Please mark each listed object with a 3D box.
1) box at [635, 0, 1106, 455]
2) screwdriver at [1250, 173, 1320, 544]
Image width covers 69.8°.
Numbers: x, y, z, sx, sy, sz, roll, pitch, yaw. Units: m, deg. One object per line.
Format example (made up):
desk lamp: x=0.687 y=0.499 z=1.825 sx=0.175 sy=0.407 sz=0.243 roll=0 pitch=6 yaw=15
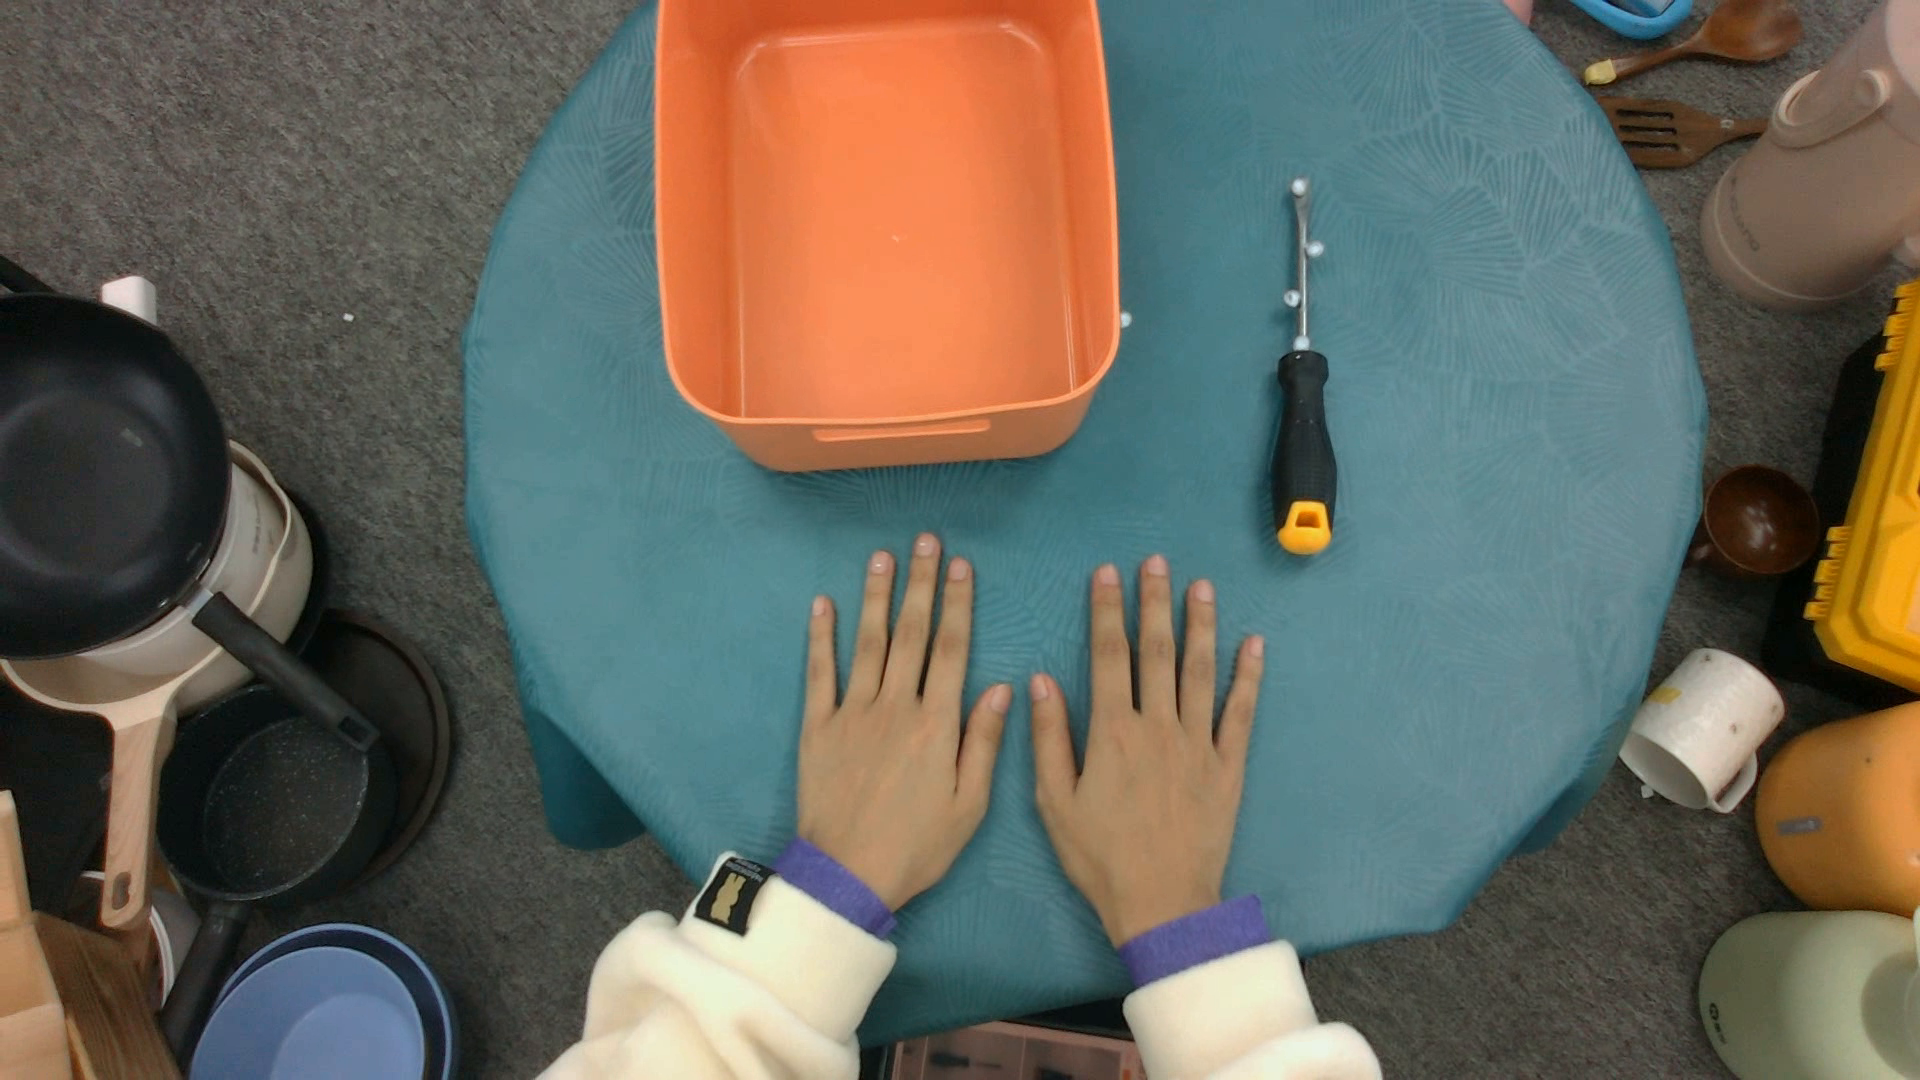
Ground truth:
box: x=-0.042 y=-0.173 z=0.644 sx=0.199 sy=0.102 sz=0.274 roll=-4 pitch=73 yaw=-1
screwdriver: x=0.147 y=-0.090 z=0.647 sx=0.031 sy=0.031 sz=0.198 roll=0 pitch=65 yaw=1
